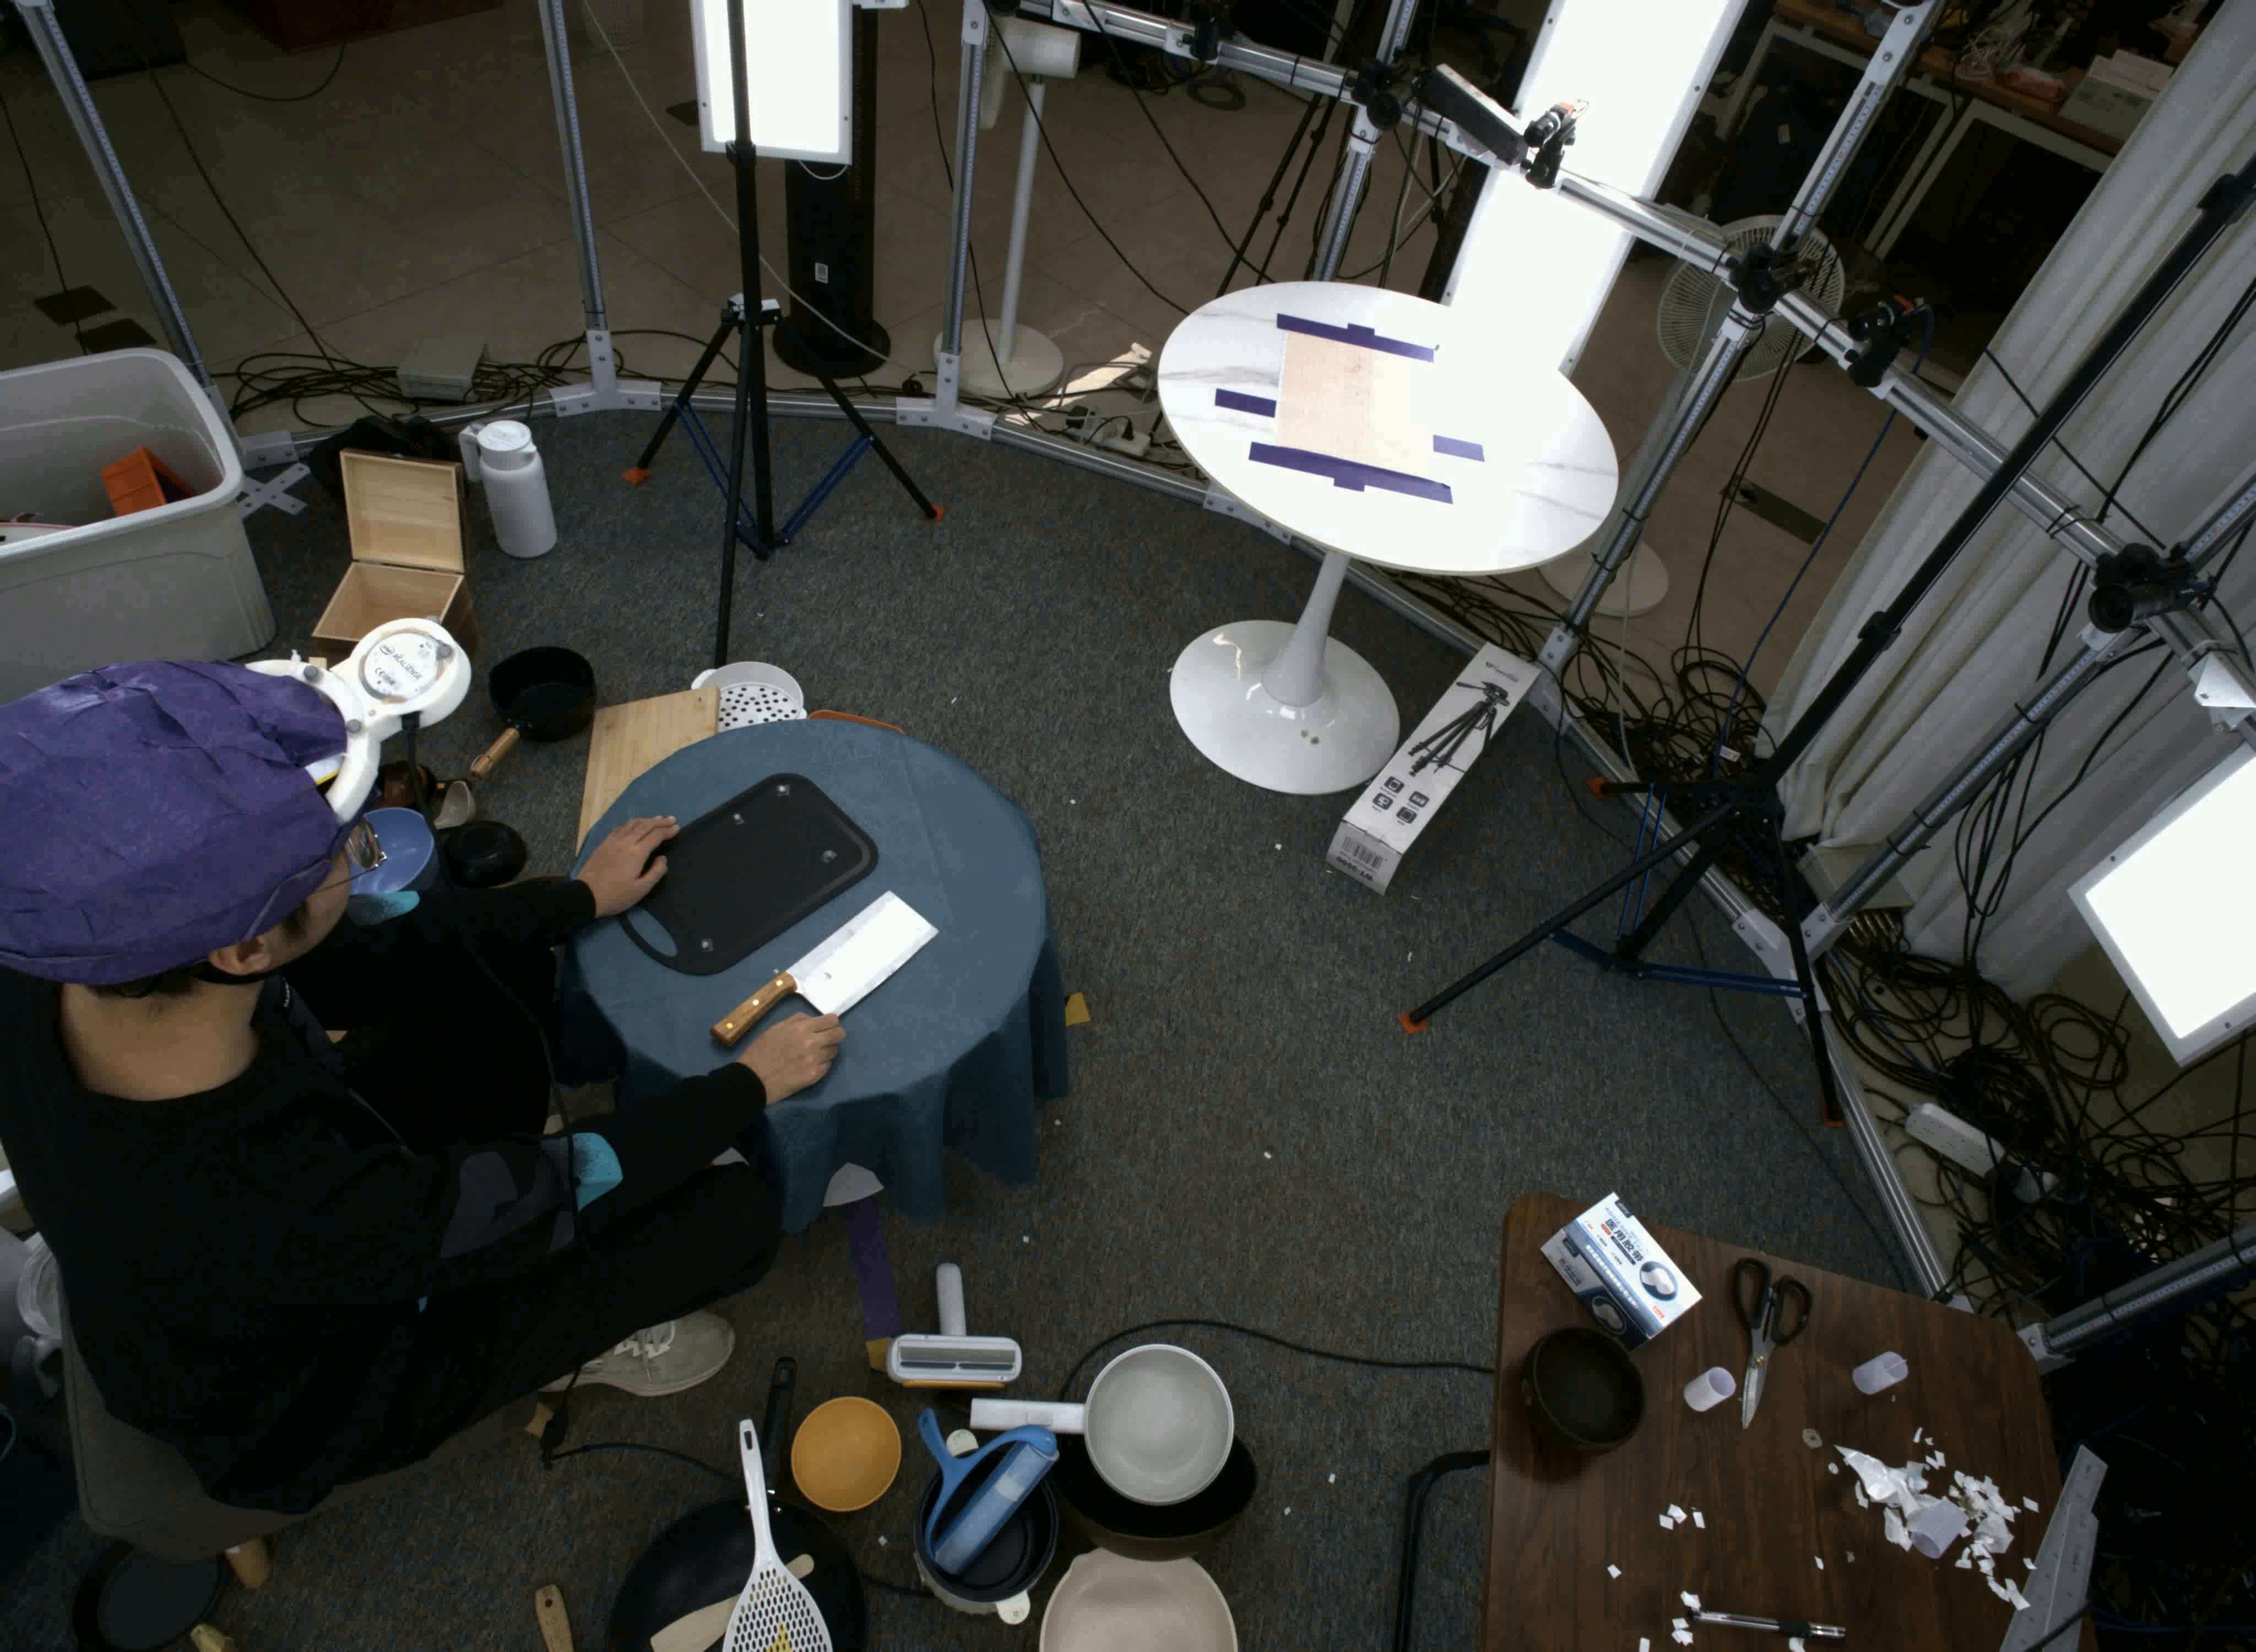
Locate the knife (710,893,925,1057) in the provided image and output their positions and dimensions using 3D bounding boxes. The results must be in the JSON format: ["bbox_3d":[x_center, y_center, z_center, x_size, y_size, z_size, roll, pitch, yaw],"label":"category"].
[{"bbox_3d":[-0.366,0.187,1.579,0.091,0.021,0.306,38,51,13],"label":"knife"}]

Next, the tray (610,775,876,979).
[{"bbox_3d":[-0.494,0.059,1.646,0.206,0.010,0.326,42,54,17],"label":"tray"}]
